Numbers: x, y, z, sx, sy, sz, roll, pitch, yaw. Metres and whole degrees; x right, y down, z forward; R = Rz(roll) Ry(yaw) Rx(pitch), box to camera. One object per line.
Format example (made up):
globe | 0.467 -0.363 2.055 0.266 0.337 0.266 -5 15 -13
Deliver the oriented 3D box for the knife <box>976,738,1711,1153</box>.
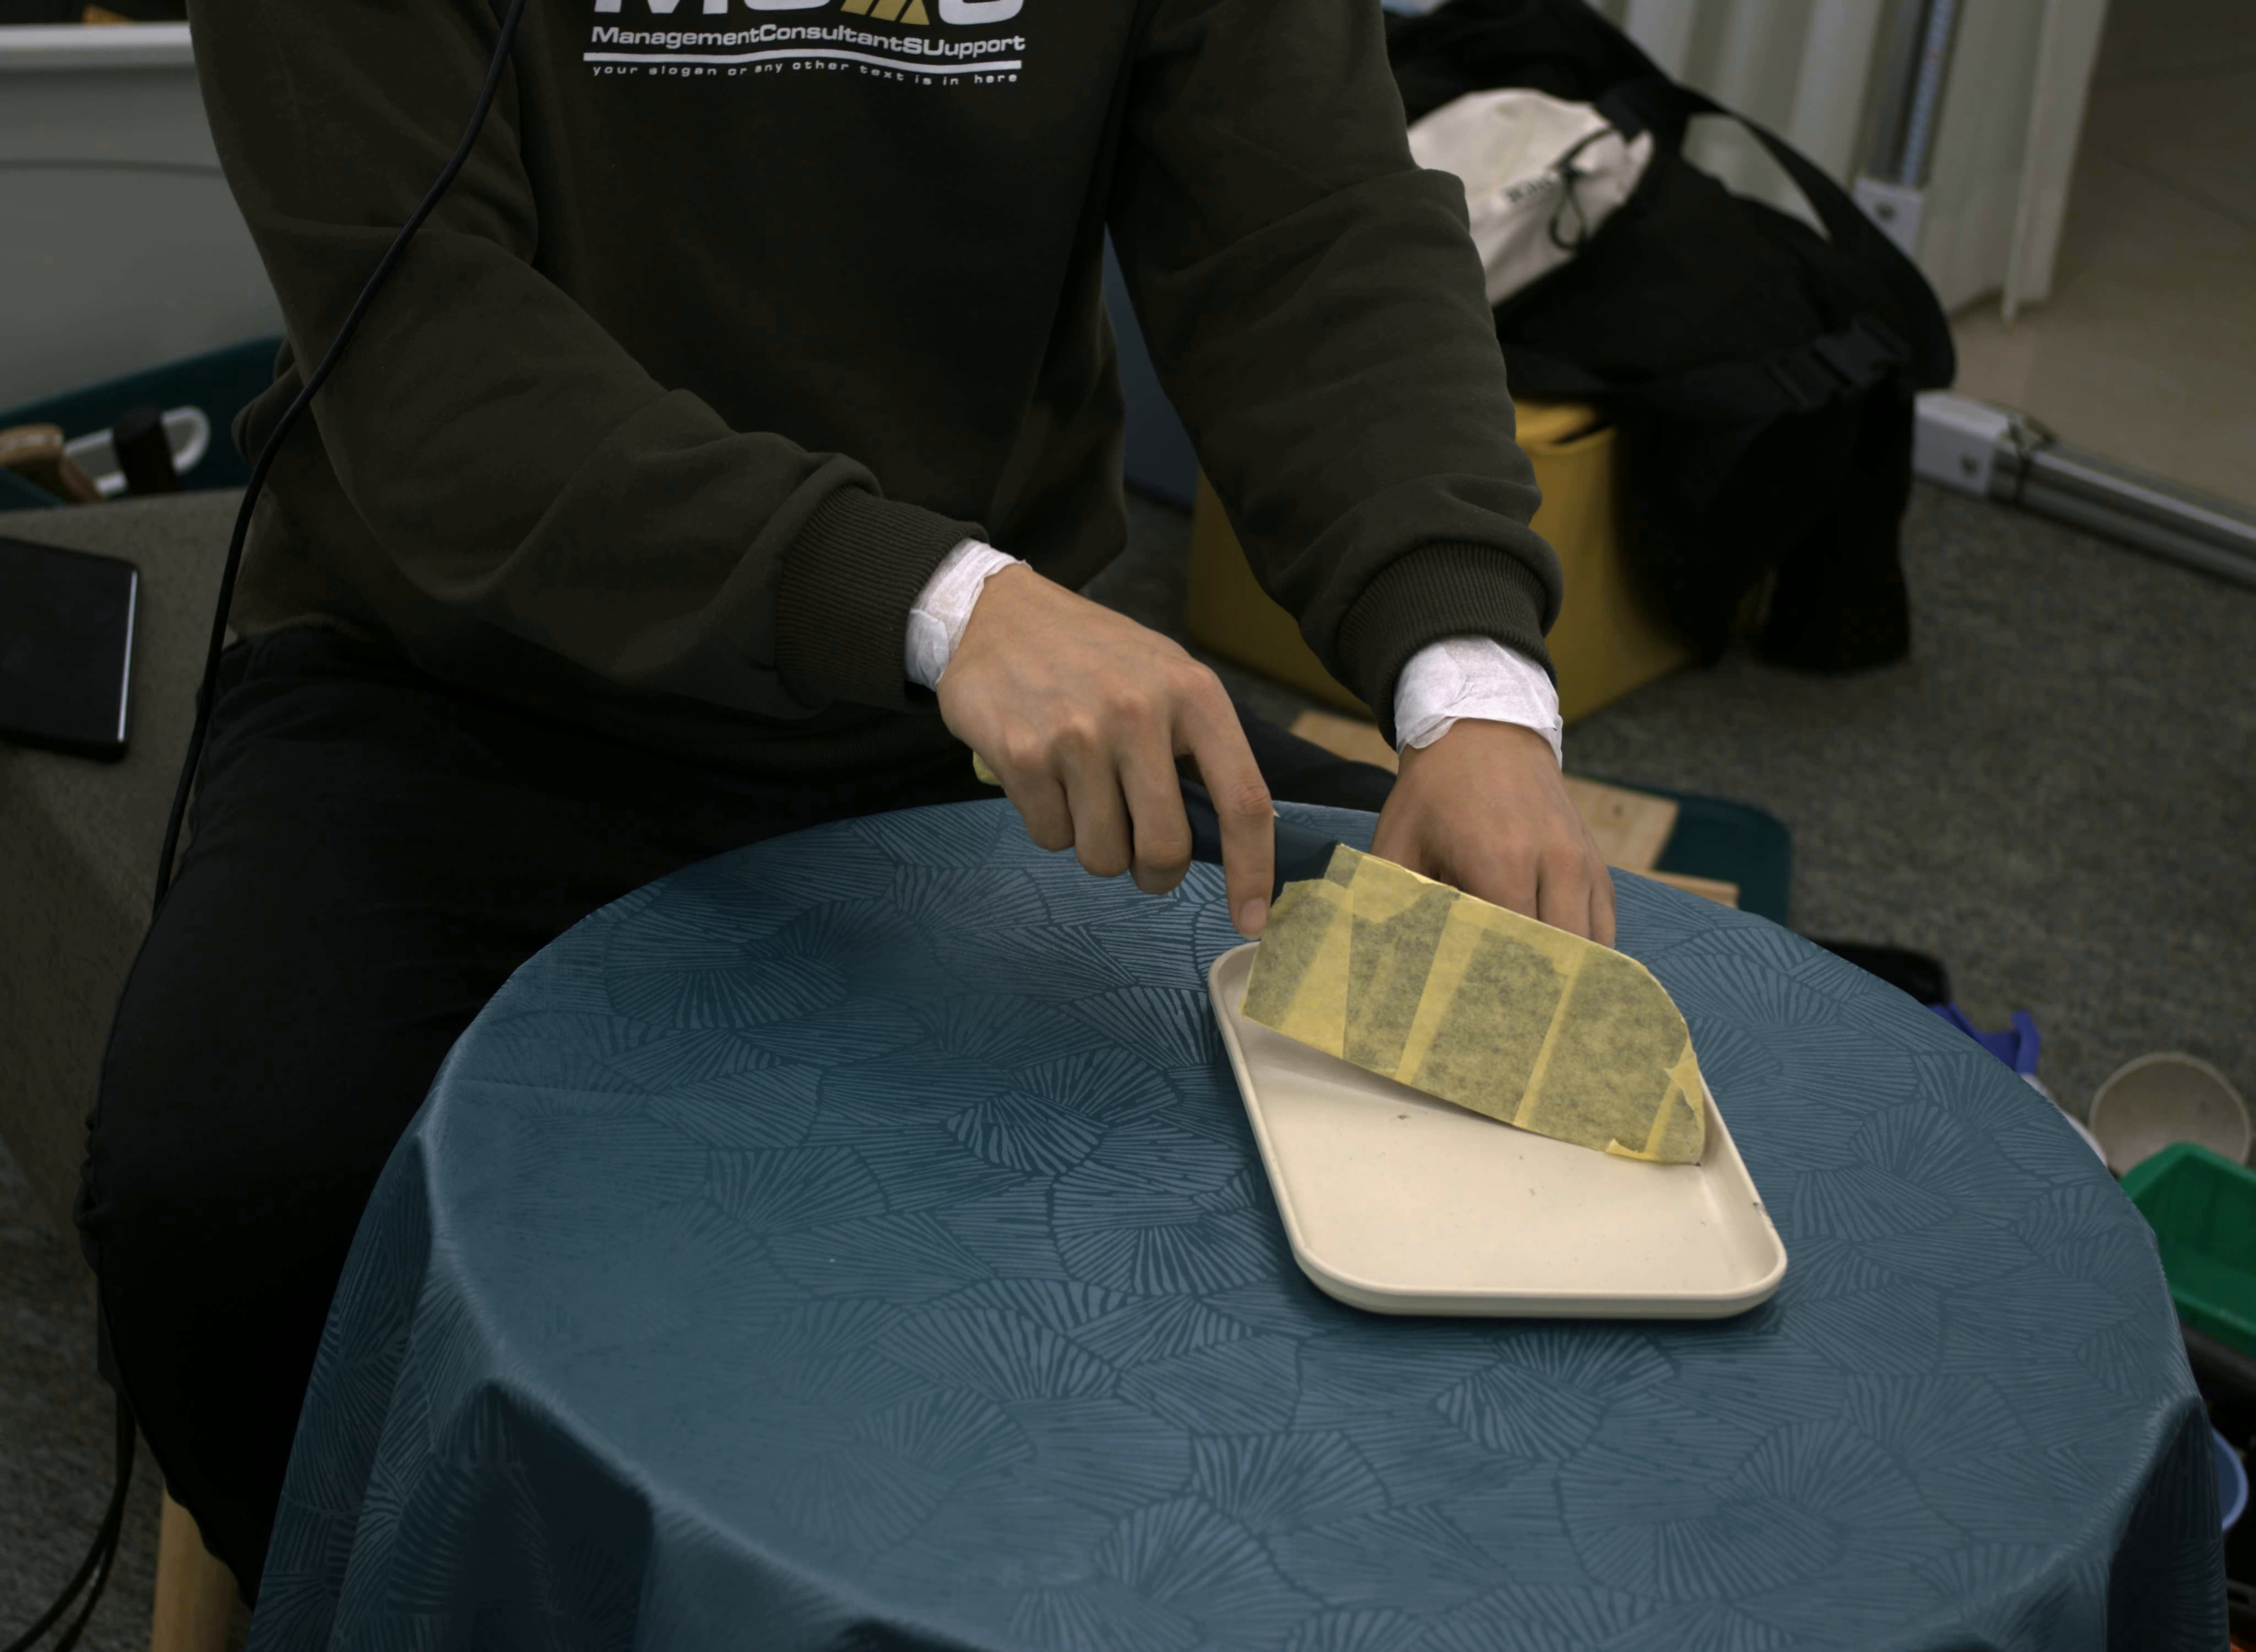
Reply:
knife | 0.072 0.041 1.871 0.290 0.081 0.027 24 11 12

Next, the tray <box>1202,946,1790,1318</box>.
tray | 0.123 0.105 1.850 0.170 0.017 0.241 1 27 -10
